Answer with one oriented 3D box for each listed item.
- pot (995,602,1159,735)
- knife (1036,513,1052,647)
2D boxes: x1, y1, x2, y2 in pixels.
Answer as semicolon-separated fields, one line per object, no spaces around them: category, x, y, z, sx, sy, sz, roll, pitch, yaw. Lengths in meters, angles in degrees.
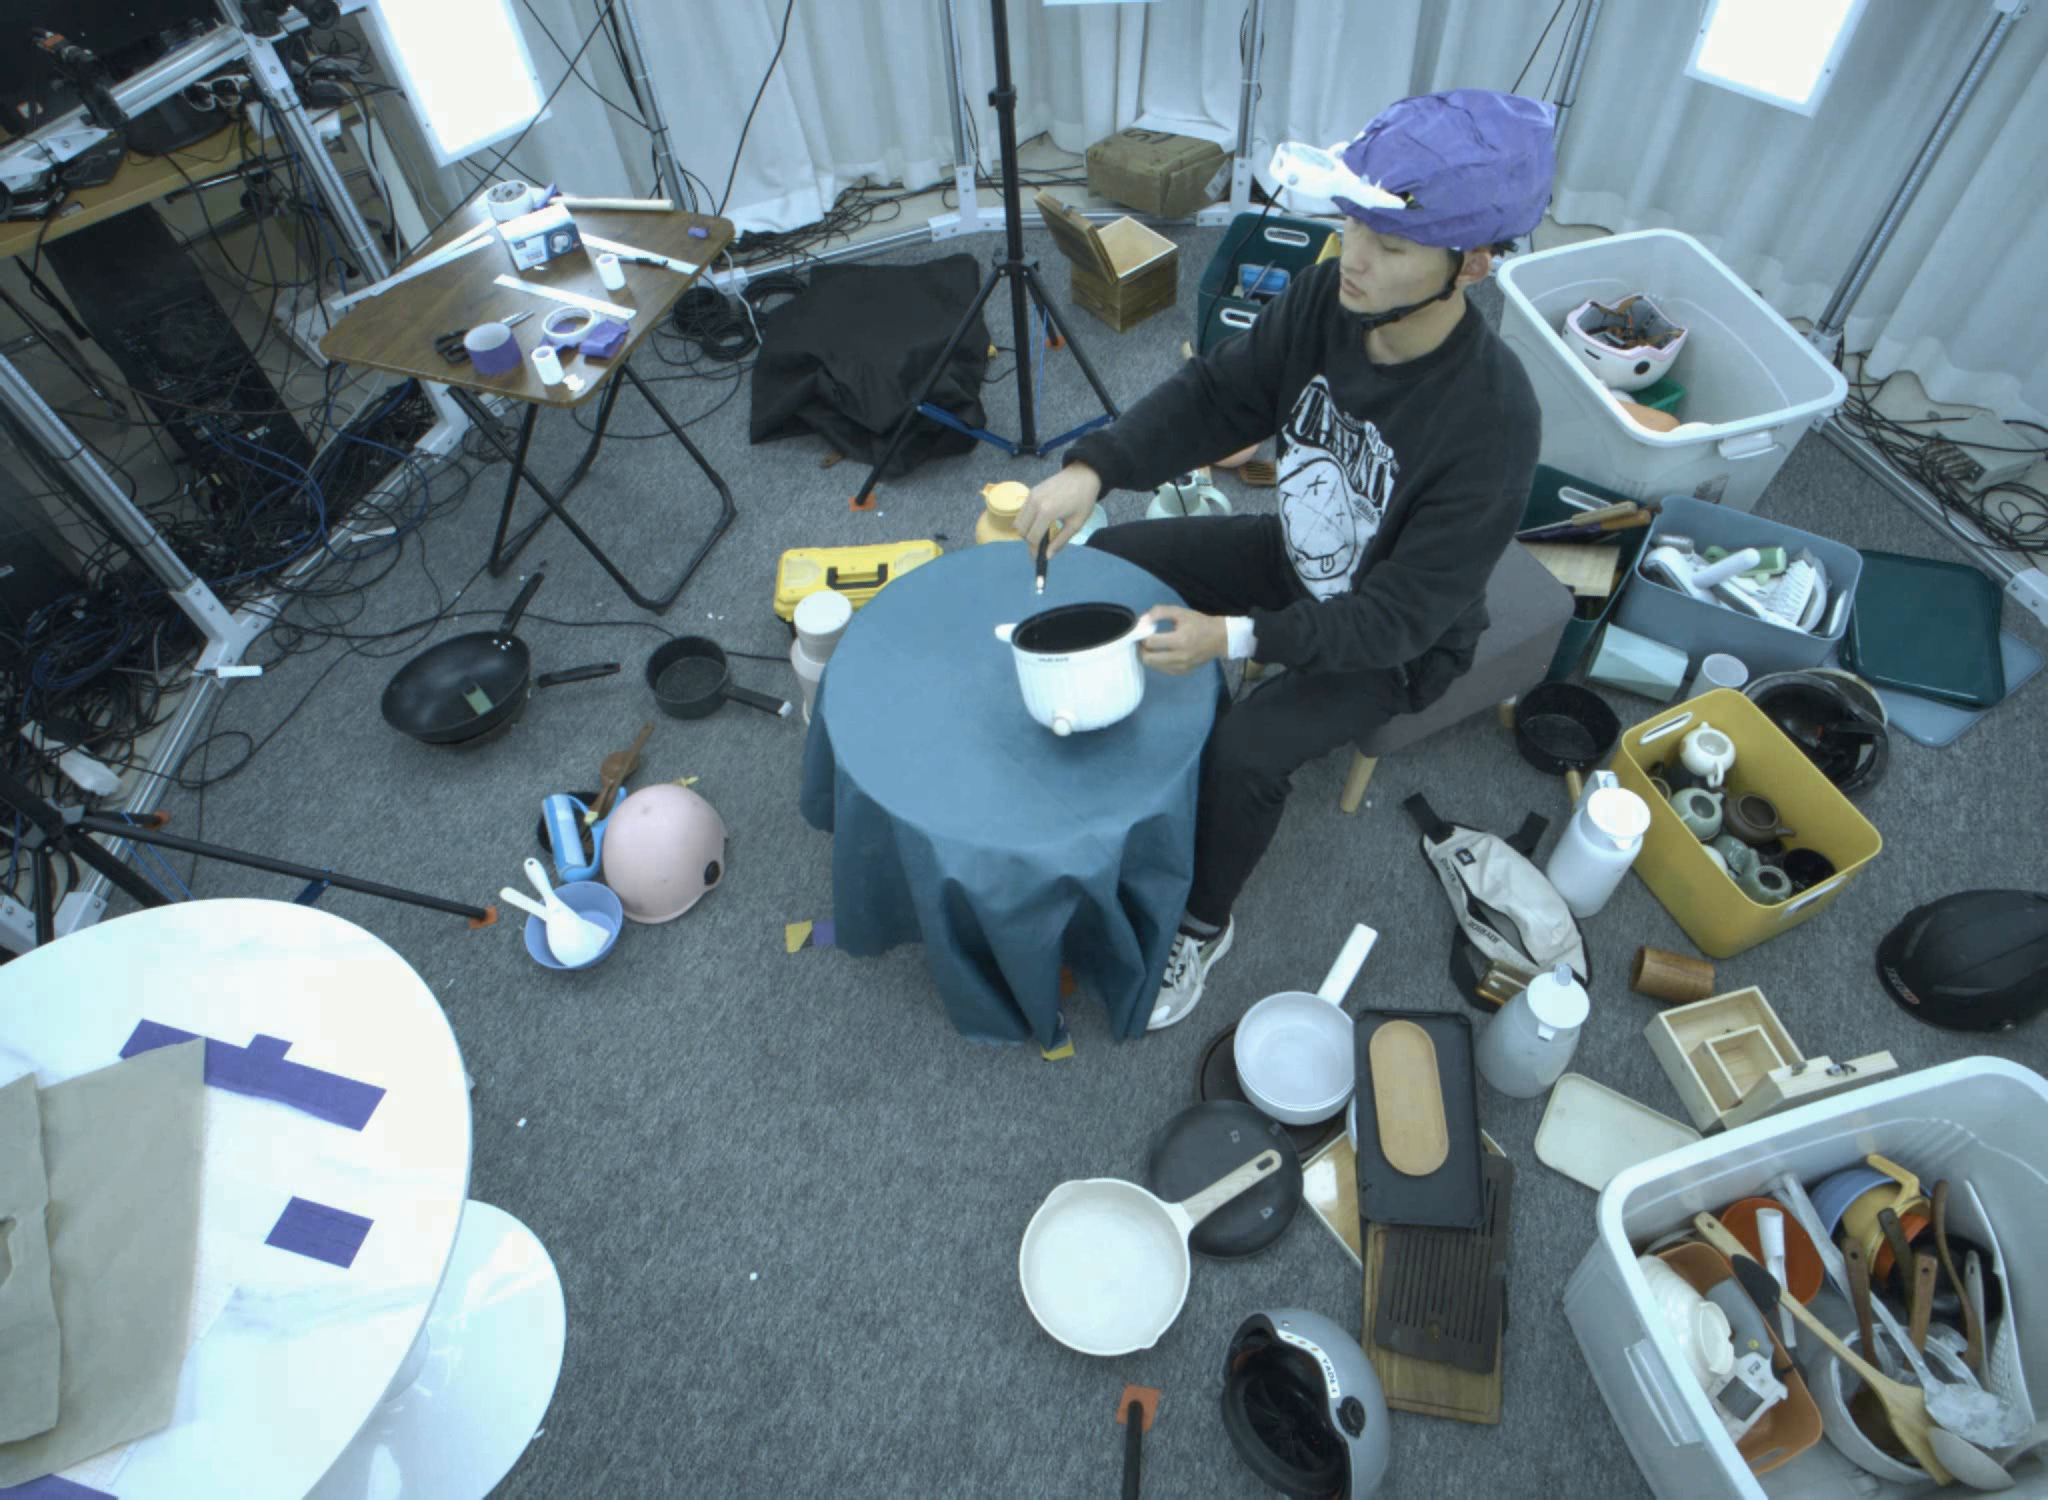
pot;0.080;-0.112;1.740;0.237;0.144;0.191;0;25;22
knife;0.026;-0.221;1.734;0.017;0.226;0.025;-6;20;-25
